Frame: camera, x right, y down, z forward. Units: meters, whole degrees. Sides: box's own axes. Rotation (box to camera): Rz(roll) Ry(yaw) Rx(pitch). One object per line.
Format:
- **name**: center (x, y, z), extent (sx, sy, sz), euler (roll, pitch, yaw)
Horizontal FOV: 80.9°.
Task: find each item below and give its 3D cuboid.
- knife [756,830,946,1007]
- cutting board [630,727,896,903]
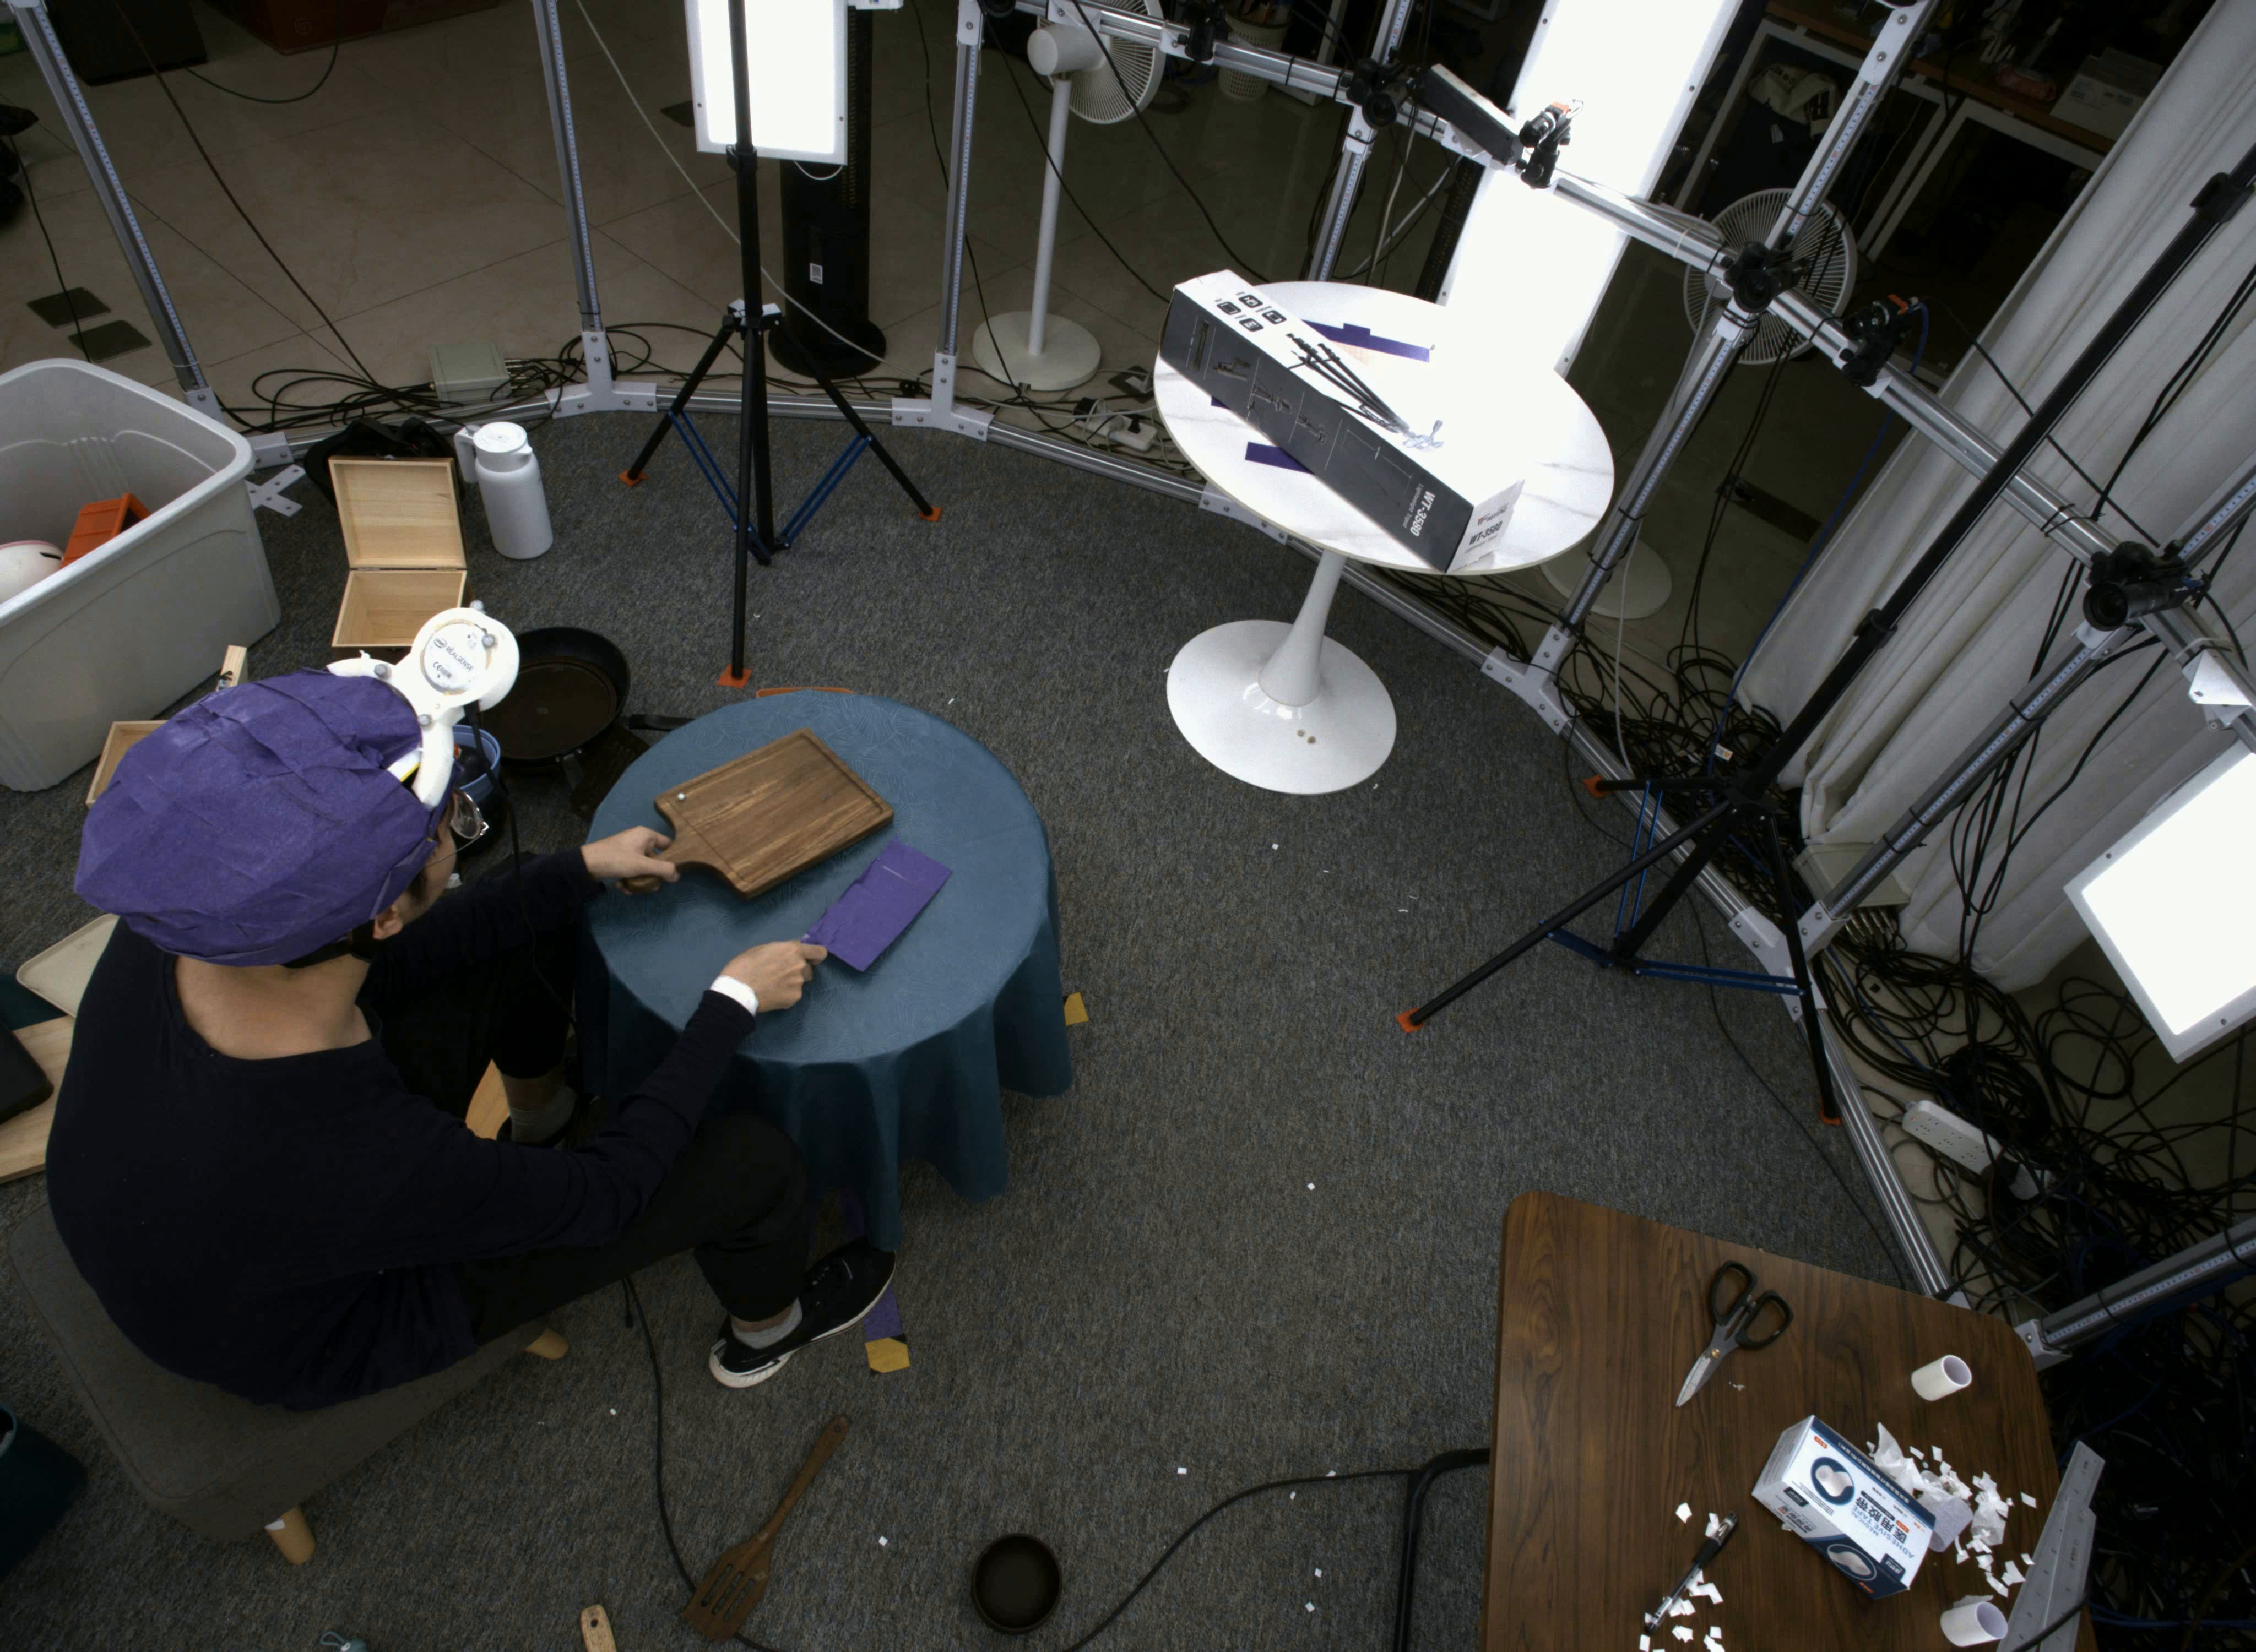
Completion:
- **knife**: center (-0.338, 0.121, 1.636), extent (0.102, 0.033, 0.314), euler (31, 49, 5)
- **cutting board**: center (-0.494, -0.002, 1.678), extent (0.197, 0.023, 0.353), euler (42, 48, 17)
